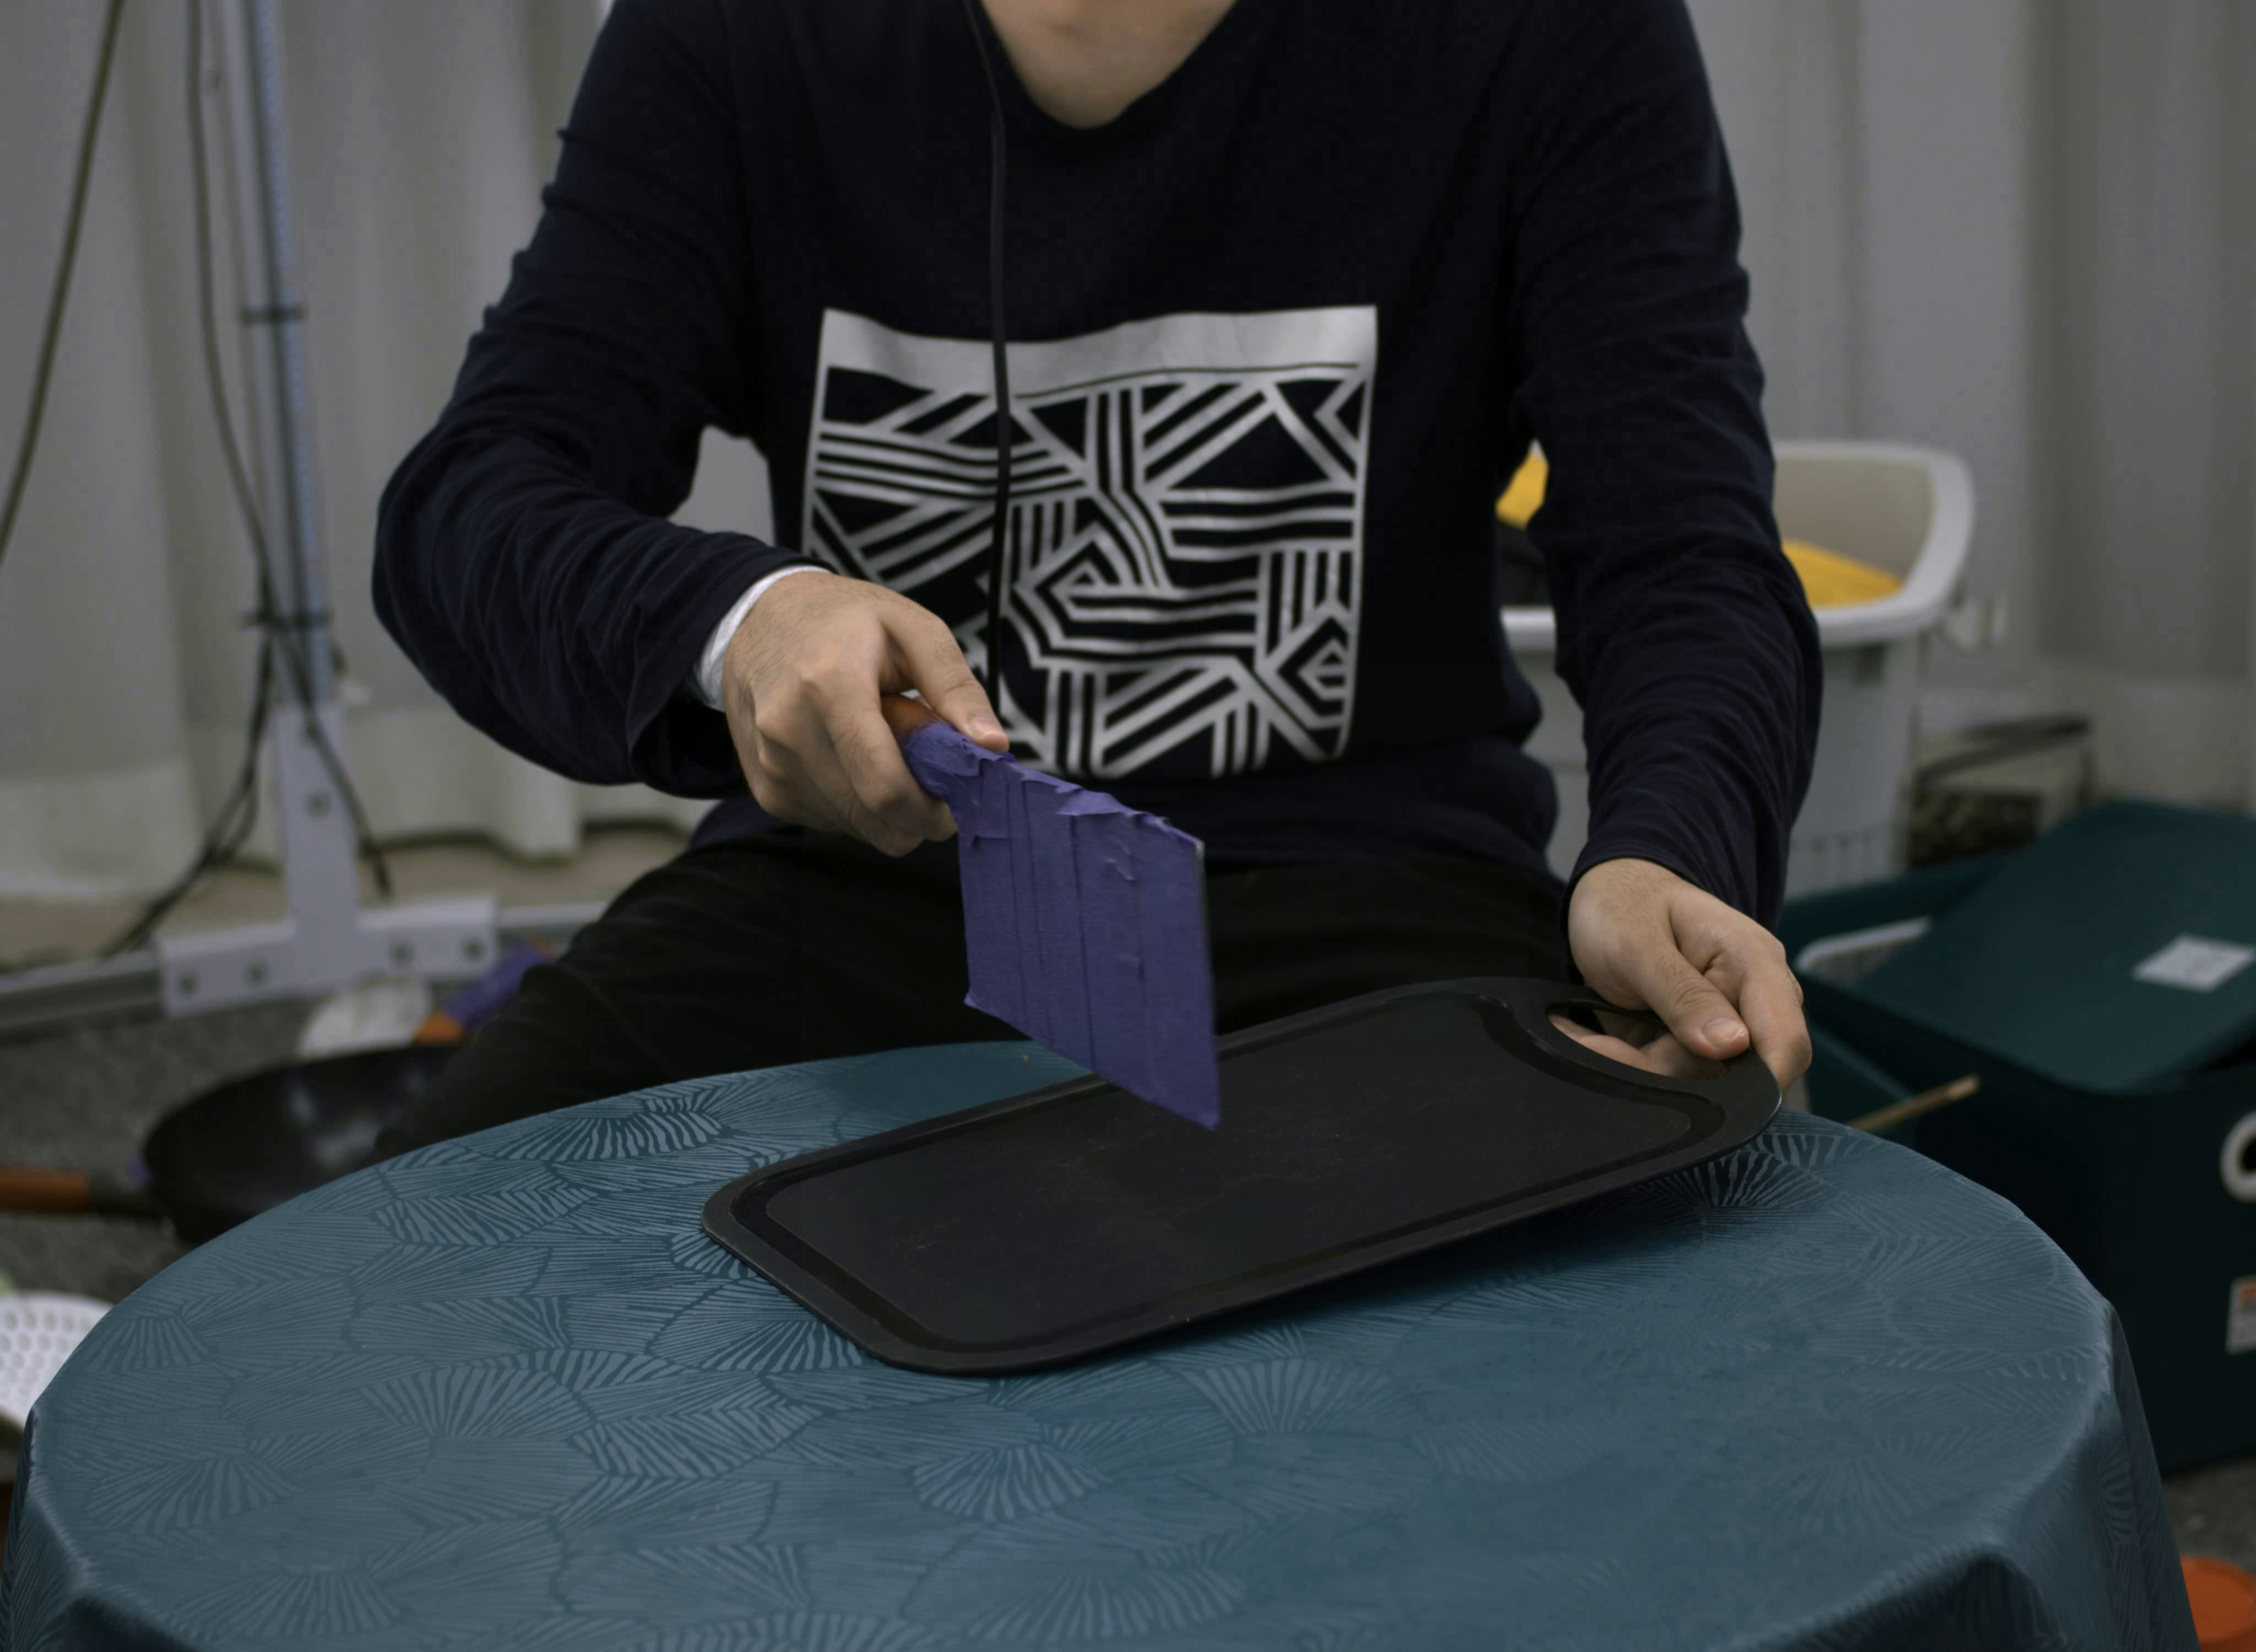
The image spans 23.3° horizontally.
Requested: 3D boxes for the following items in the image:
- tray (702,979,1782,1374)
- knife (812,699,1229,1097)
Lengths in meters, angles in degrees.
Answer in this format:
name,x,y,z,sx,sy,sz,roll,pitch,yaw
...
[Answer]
name,x,y,z,sx,sy,sz,roll,pitch,yaw
tray,0.040,0.101,1.701,0.324,0.010,0.213,-15,18,-23
knife,-0.037,0.022,1.723,0.032,0.104,0.317,-5,10,-20
